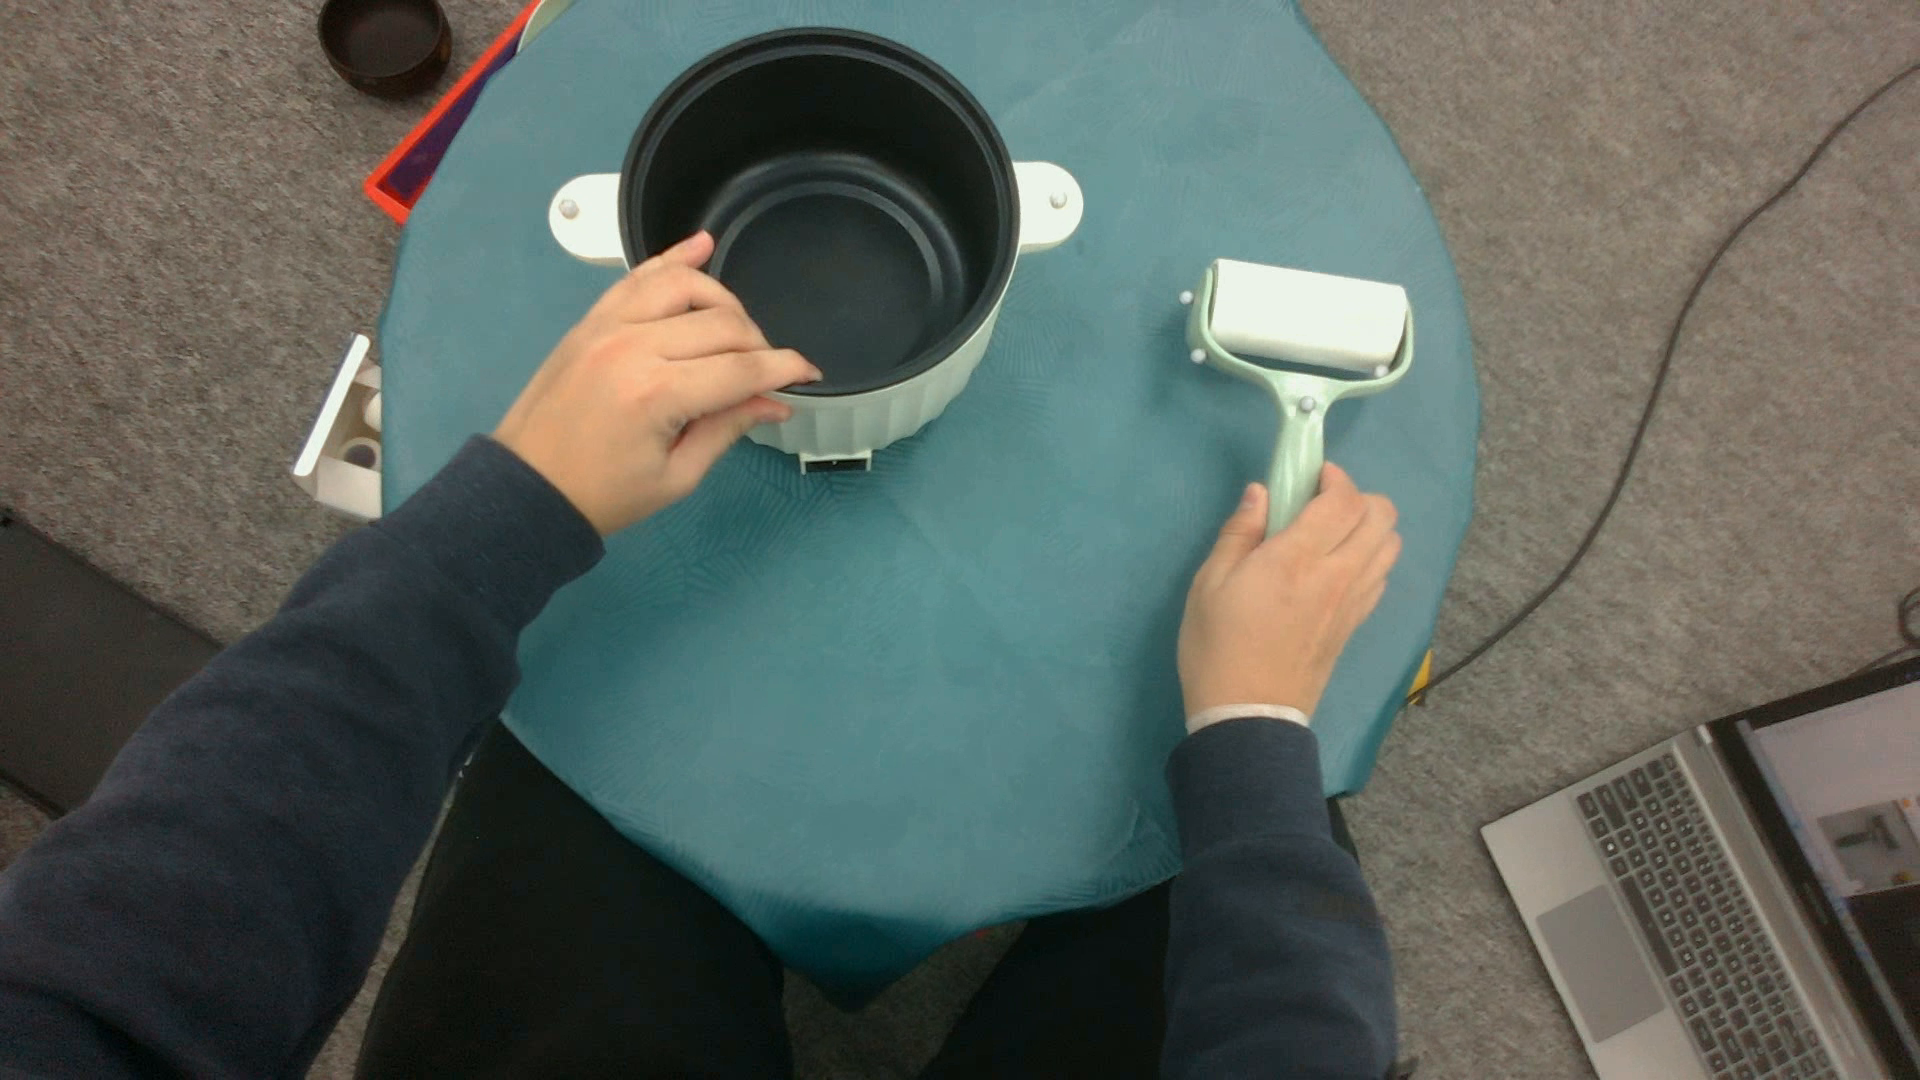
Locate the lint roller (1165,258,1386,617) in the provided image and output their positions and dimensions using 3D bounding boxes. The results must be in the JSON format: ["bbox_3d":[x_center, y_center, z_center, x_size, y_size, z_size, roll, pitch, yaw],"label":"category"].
[{"bbox_3d":[0.166,-0.058,0.734,0.116,0.048,0.198,8,69,-5],"label":"lint roller"}]

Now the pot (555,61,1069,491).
[{"bbox_3d":[-0.073,-0.132,0.704,0.240,0.142,0.191,-6,79,-7],"label":"pot"}]
